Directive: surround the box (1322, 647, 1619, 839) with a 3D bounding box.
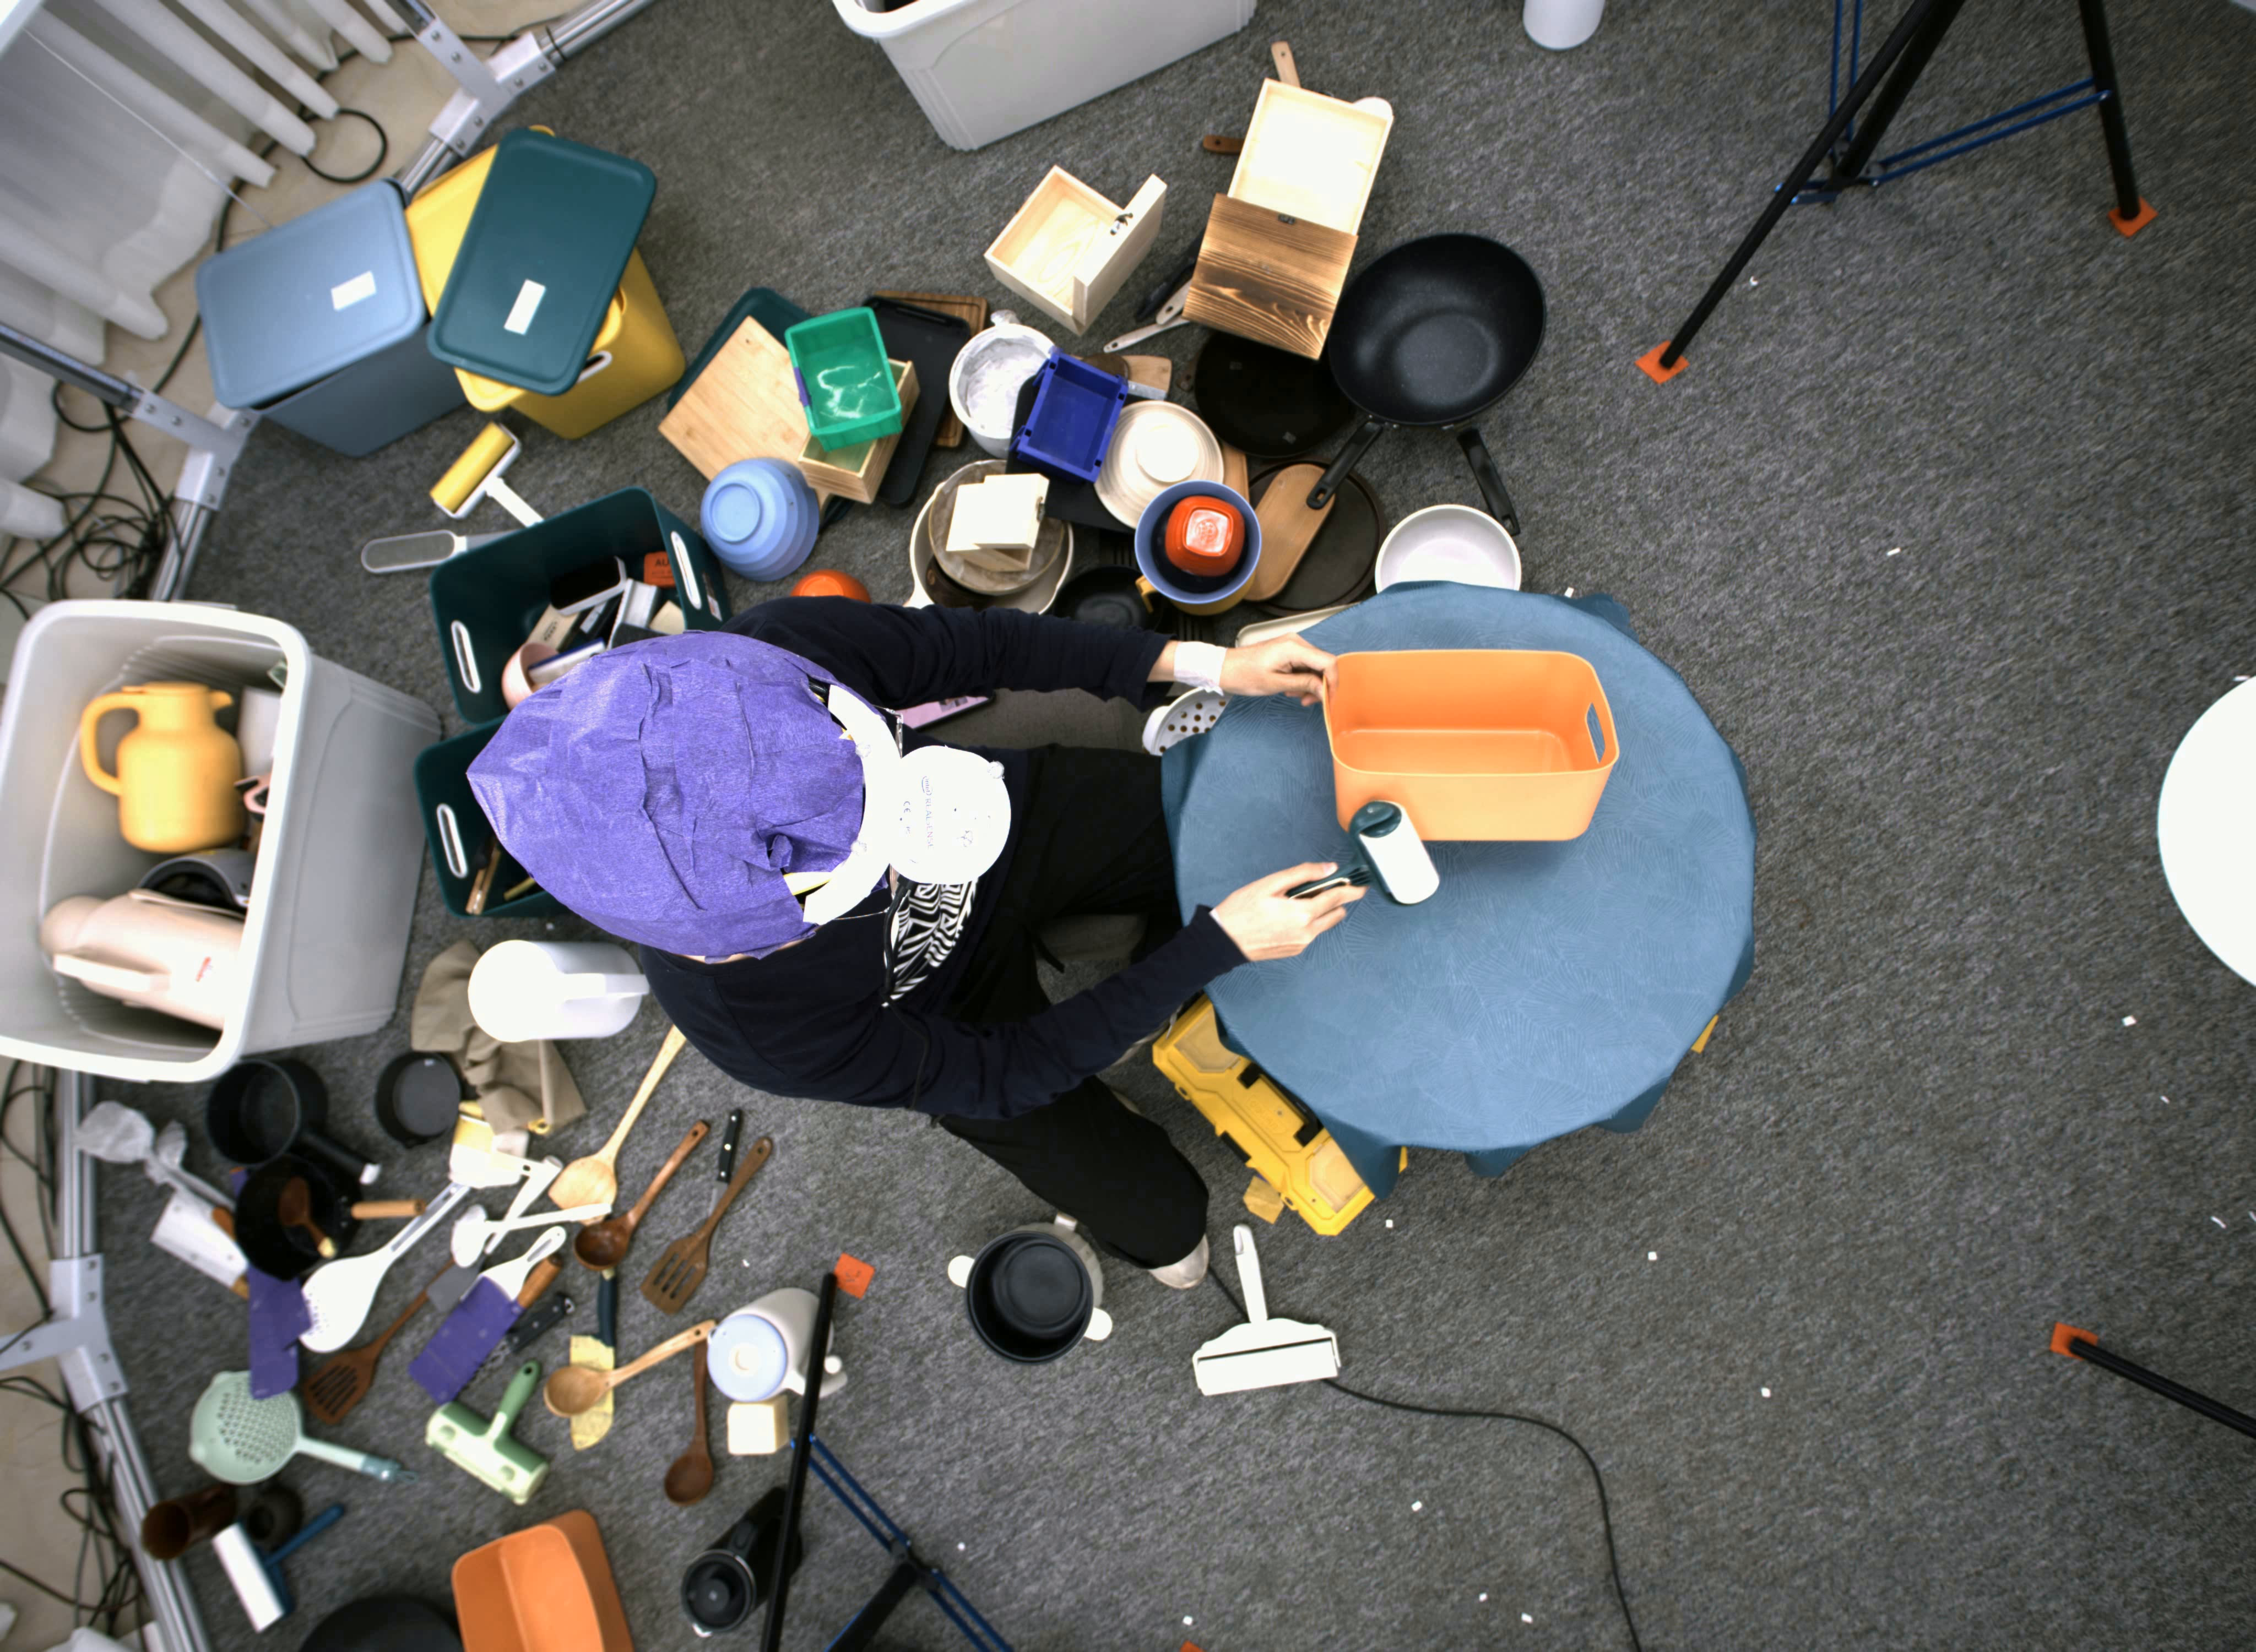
[{"bbox_3d":[0.328,-0.080,1.352,0.274,0.105,0.194,-1,43,4],"label":"box"}]

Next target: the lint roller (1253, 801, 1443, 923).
[{"bbox_3d":[0.204,0.057,1.323,0.181,0.136,0.047,-30,41,10],"label":"lint roller"}]
